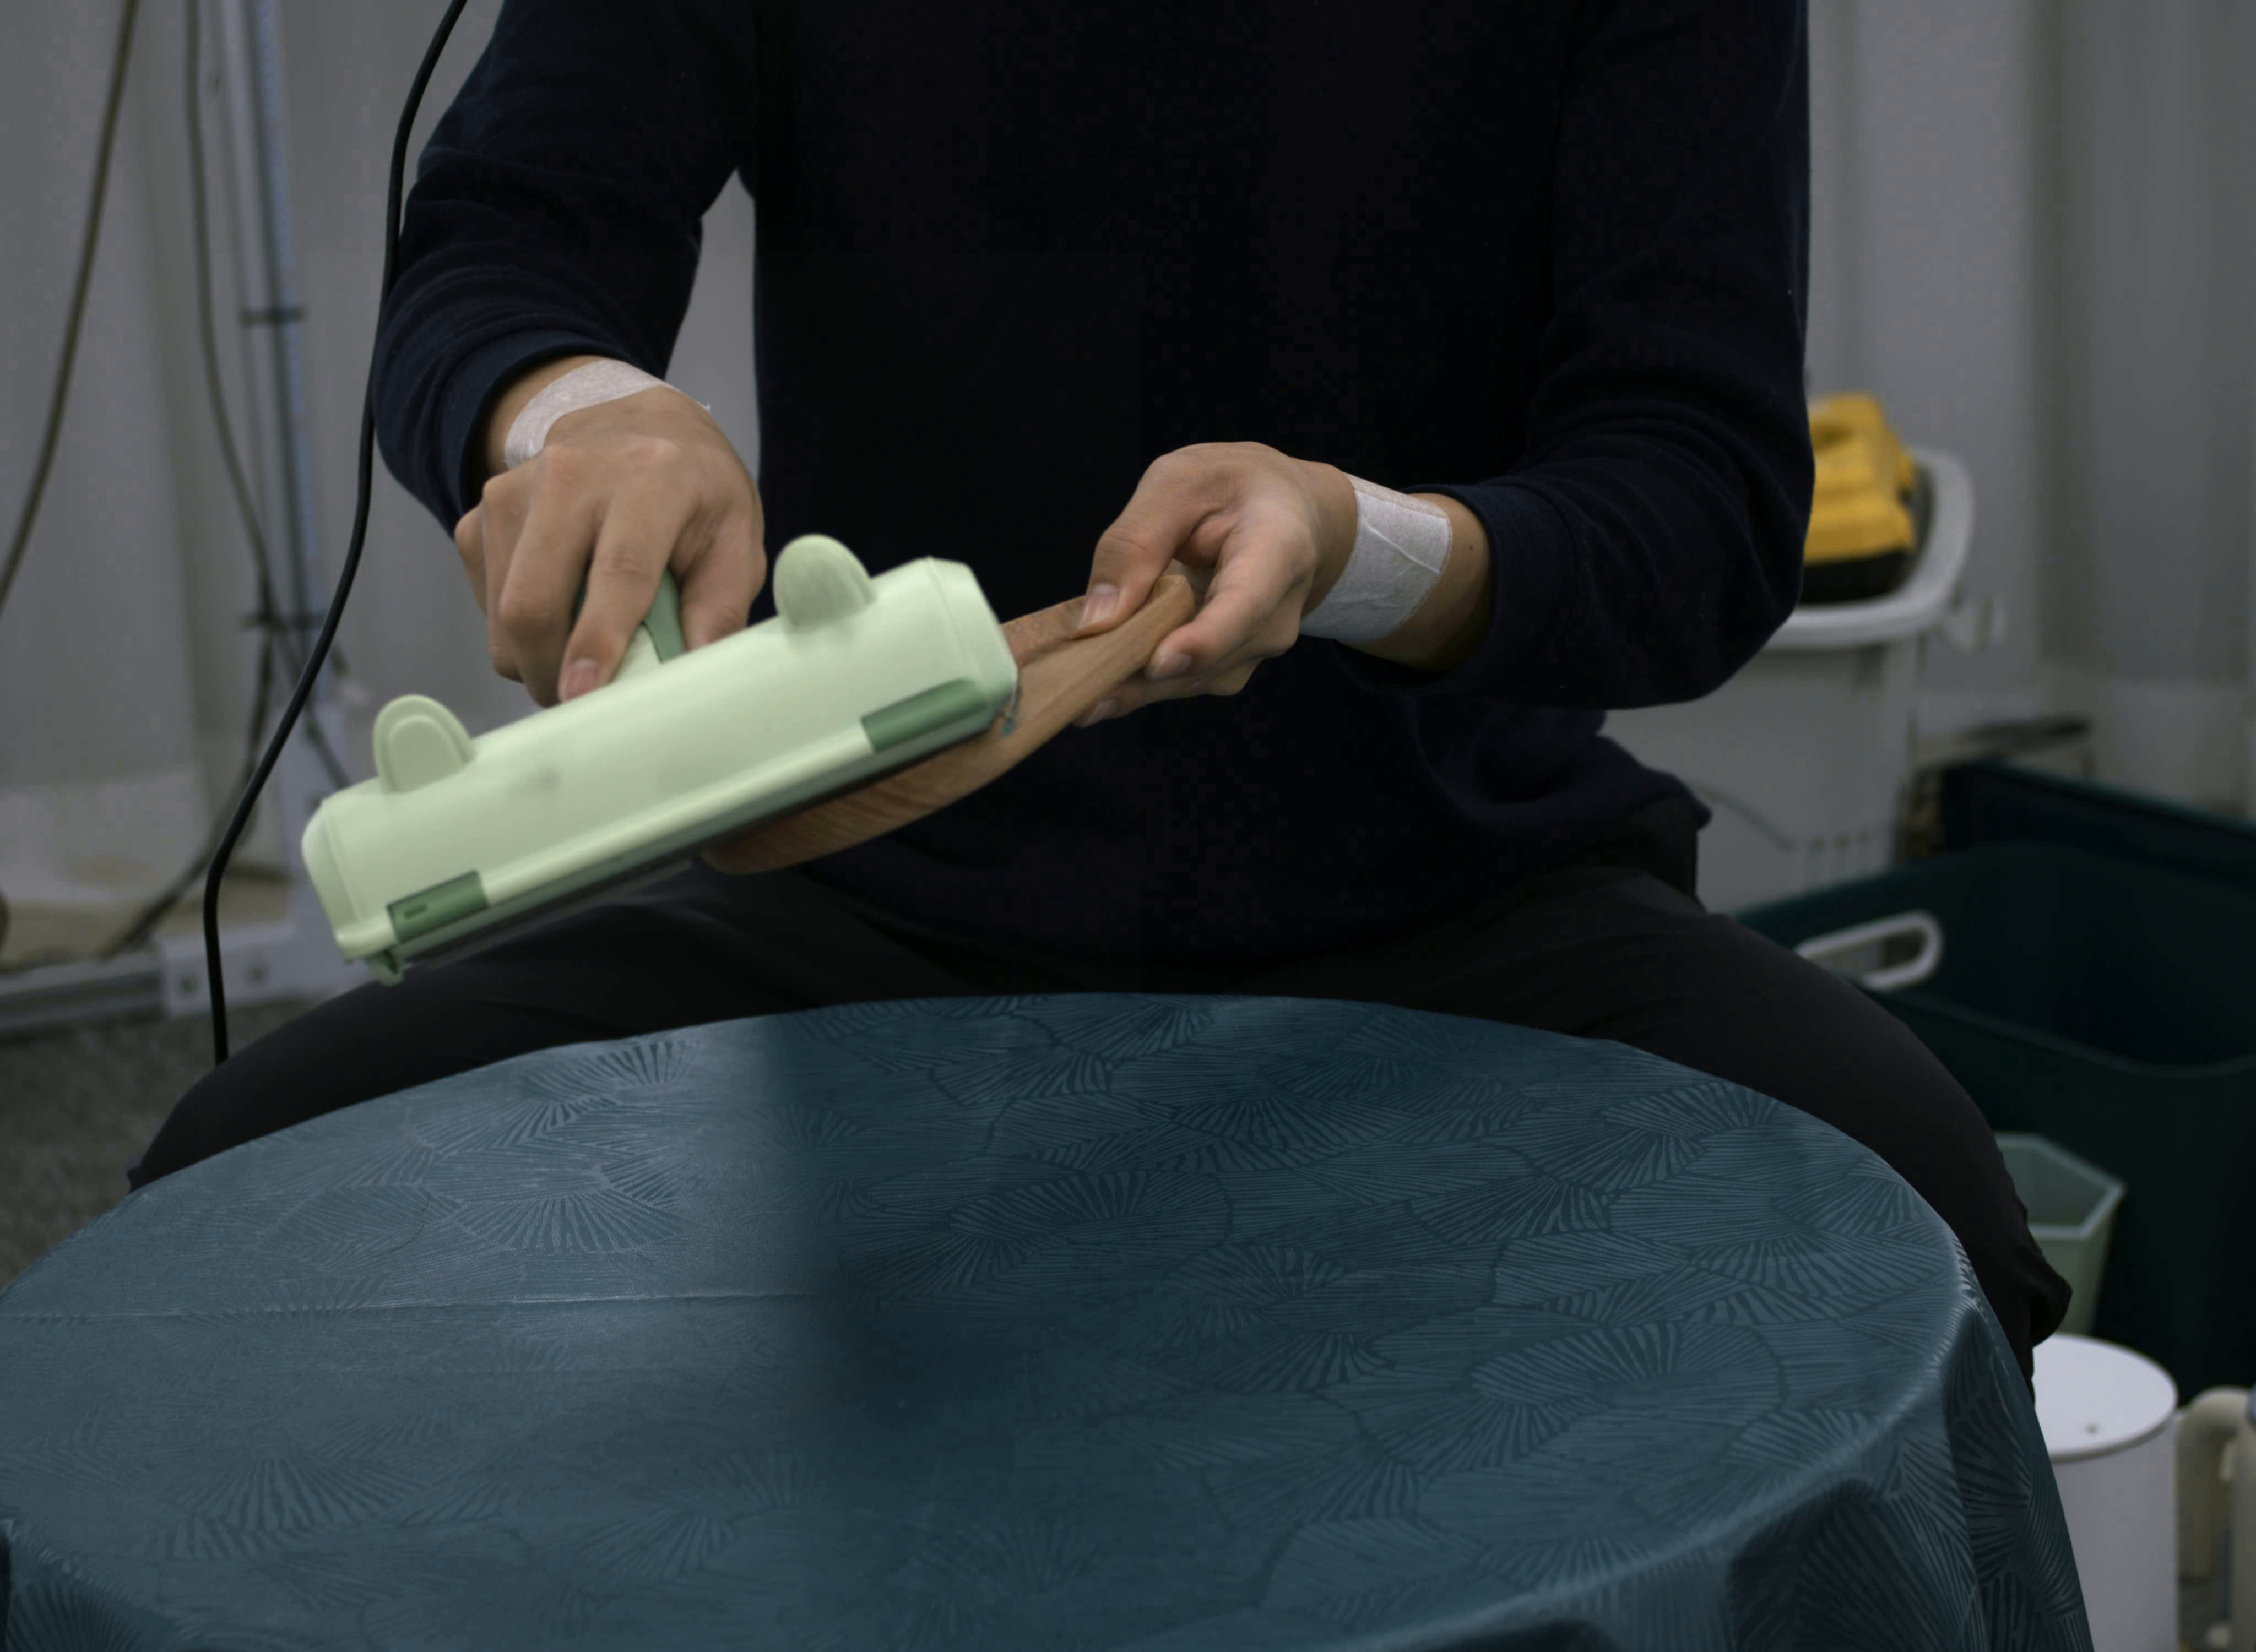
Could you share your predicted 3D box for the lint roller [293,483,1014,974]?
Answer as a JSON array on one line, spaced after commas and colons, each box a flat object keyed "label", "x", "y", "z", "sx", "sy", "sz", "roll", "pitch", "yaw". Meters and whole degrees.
[{"label": "lint roller", "x": -0.145, "y": -0.058, "z": 1.518, "sx": 0.198, "sy": 0.081, "sz": 0.186, "roll": -22, "pitch": 43, "yaw": -2}]

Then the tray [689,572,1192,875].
[{"label": "tray", "x": -0.051, "y": -0.031, "z": 1.583, "sx": 0.101, "sy": 0.020, "sz": 0.232, "roll": -18, "pitch": 11, "yaw": 26}]
